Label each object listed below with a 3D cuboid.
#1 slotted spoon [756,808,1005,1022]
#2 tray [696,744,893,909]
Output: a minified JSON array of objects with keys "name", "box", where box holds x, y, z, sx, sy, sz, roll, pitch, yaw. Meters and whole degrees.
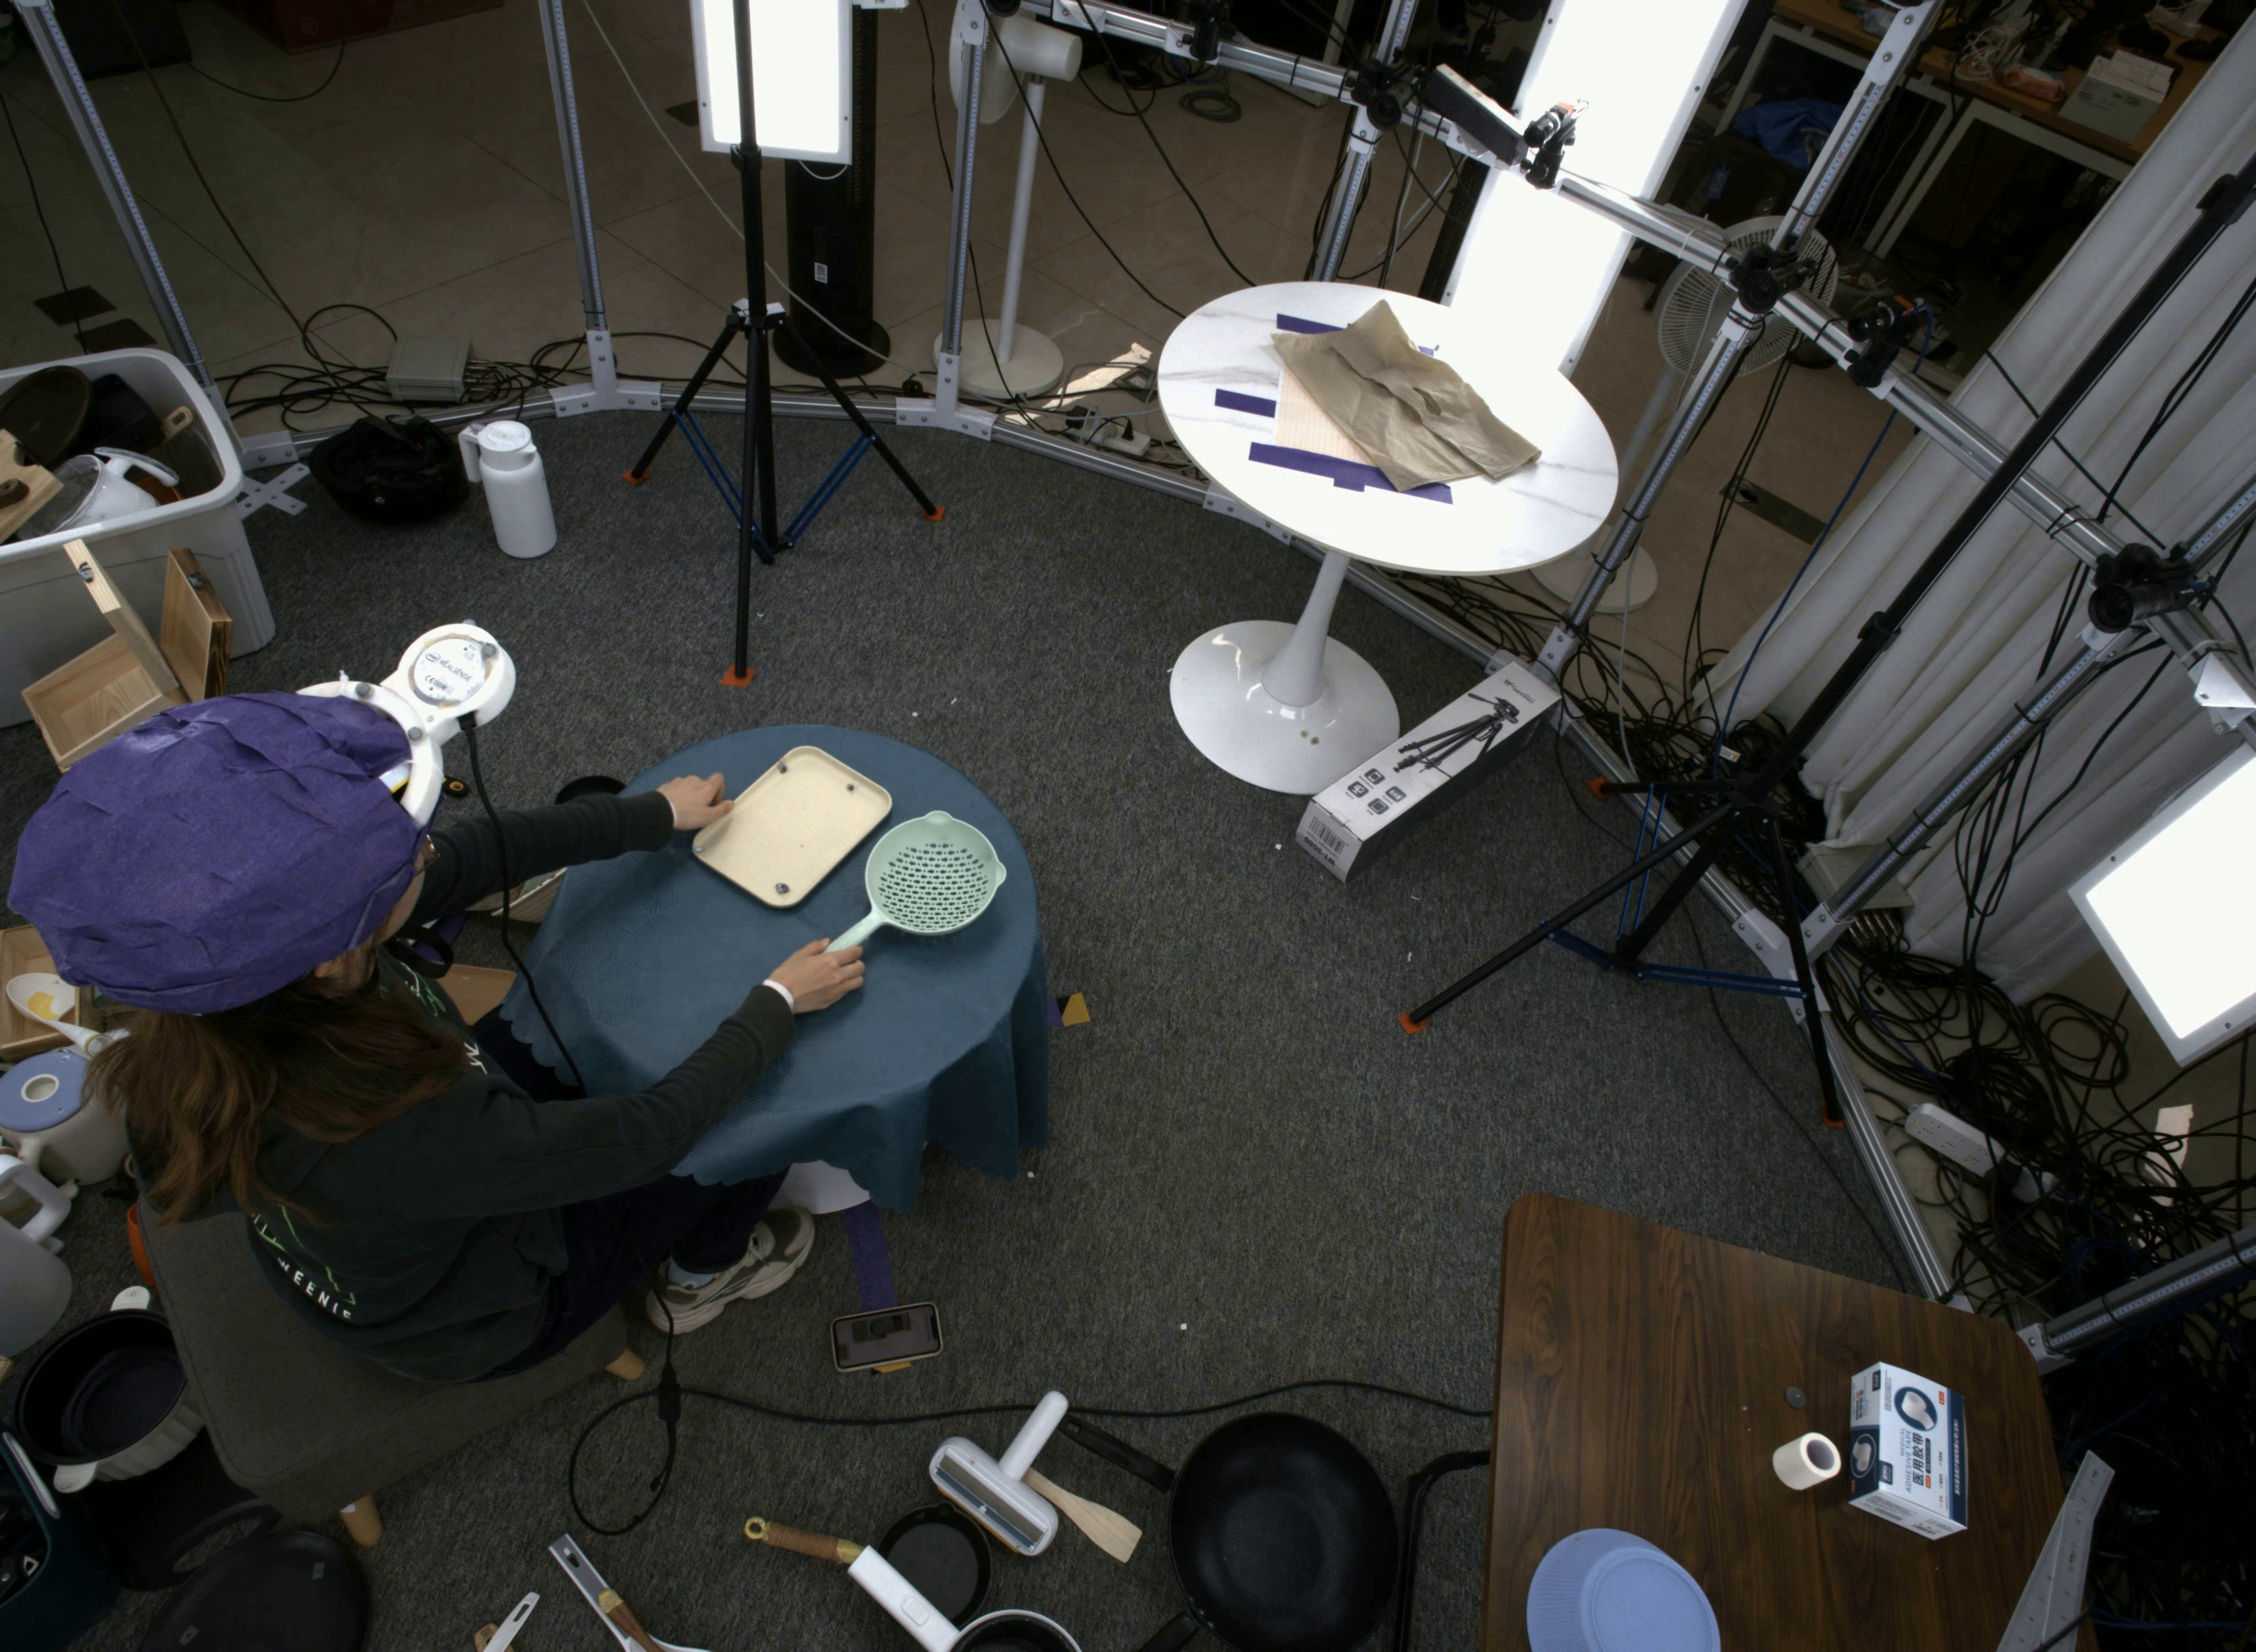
[{"name":"slotted spoon","box":[-0.318,0.119,1.626,0.165,0.077,0.359,42,55,18]},{"name":"tray","box":[-0.439,-0.002,1.716,0.168,0.018,0.239,31,54,10]}]
